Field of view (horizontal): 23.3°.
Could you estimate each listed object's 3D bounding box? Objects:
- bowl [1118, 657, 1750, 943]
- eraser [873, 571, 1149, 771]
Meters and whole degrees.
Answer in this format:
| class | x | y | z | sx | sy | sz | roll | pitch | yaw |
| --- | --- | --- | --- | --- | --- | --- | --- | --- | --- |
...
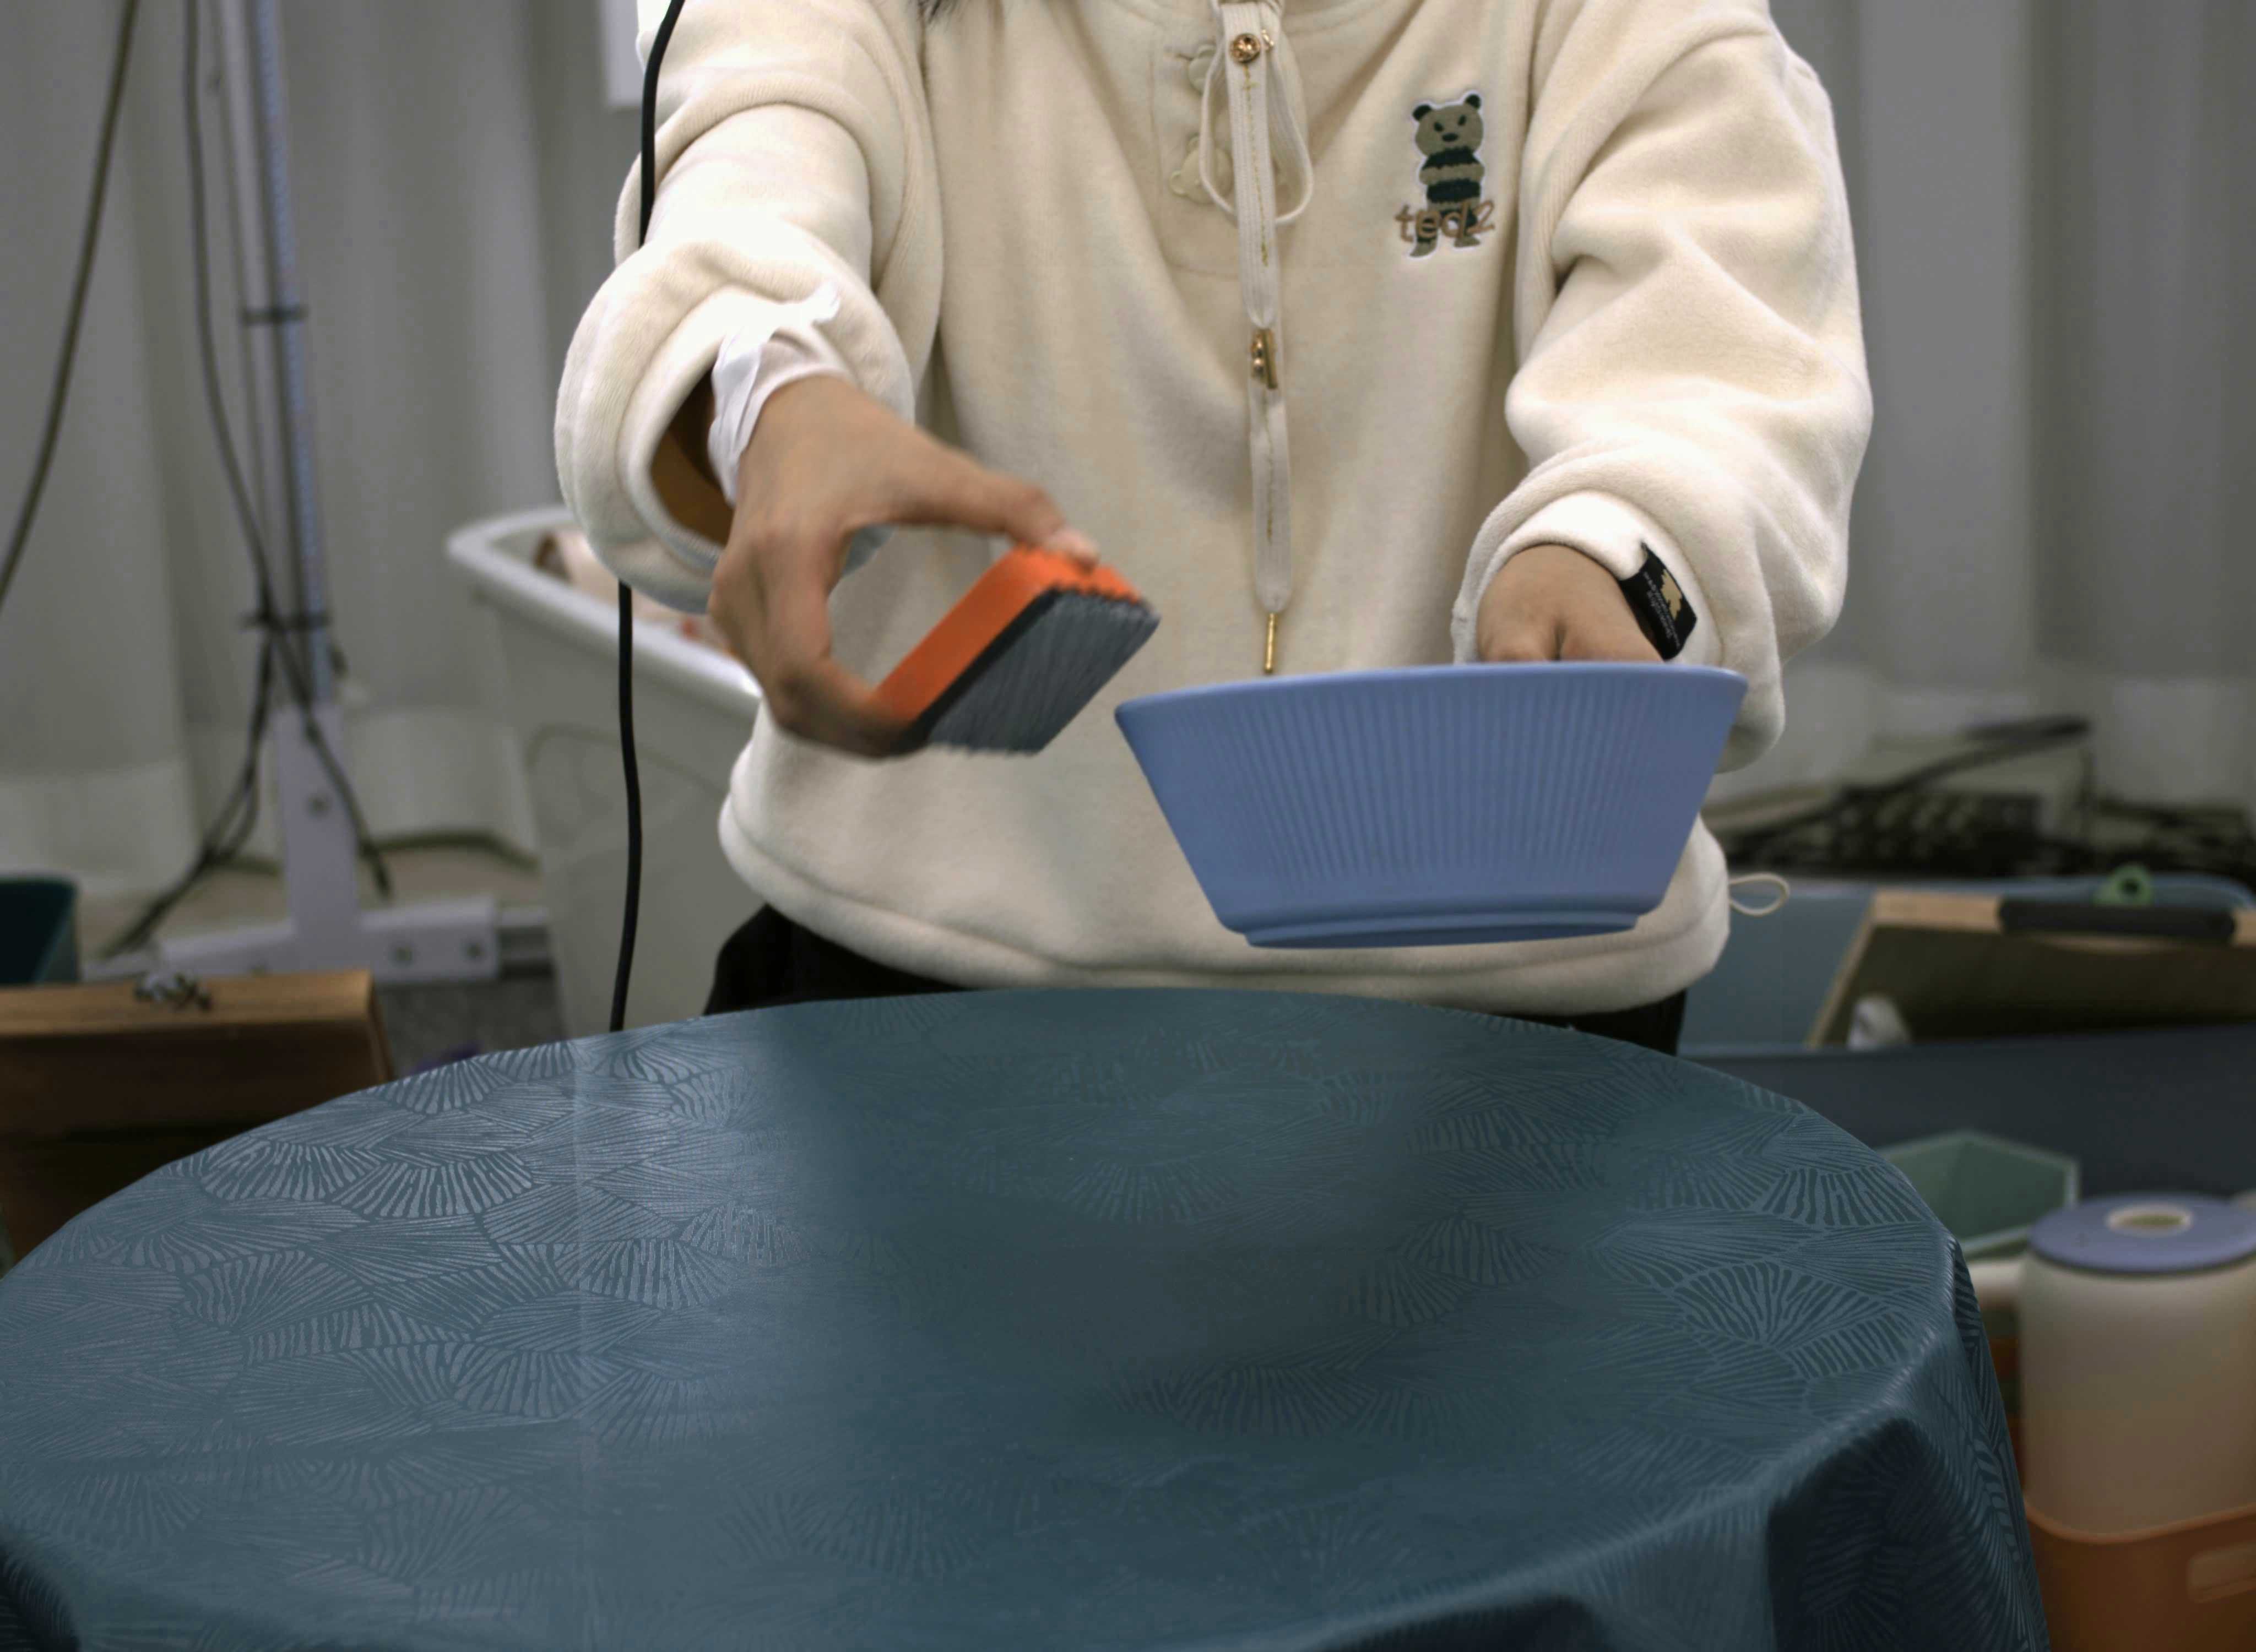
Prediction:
| class | x | y | z | sx | sy | sz | roll | pitch | yaw |
| --- | --- | --- | --- | --- | --- | --- | --- | --- | --- |
| bowl | 0.086 | -0.005 | 1.511 | 0.175 | 0.070 | 0.175 | -3 | -4 | 0 |
| eraser | -0.032 | -0.043 | 1.552 | 0.023 | 0.059 | 0.108 | 44 | 11 | 11 |
